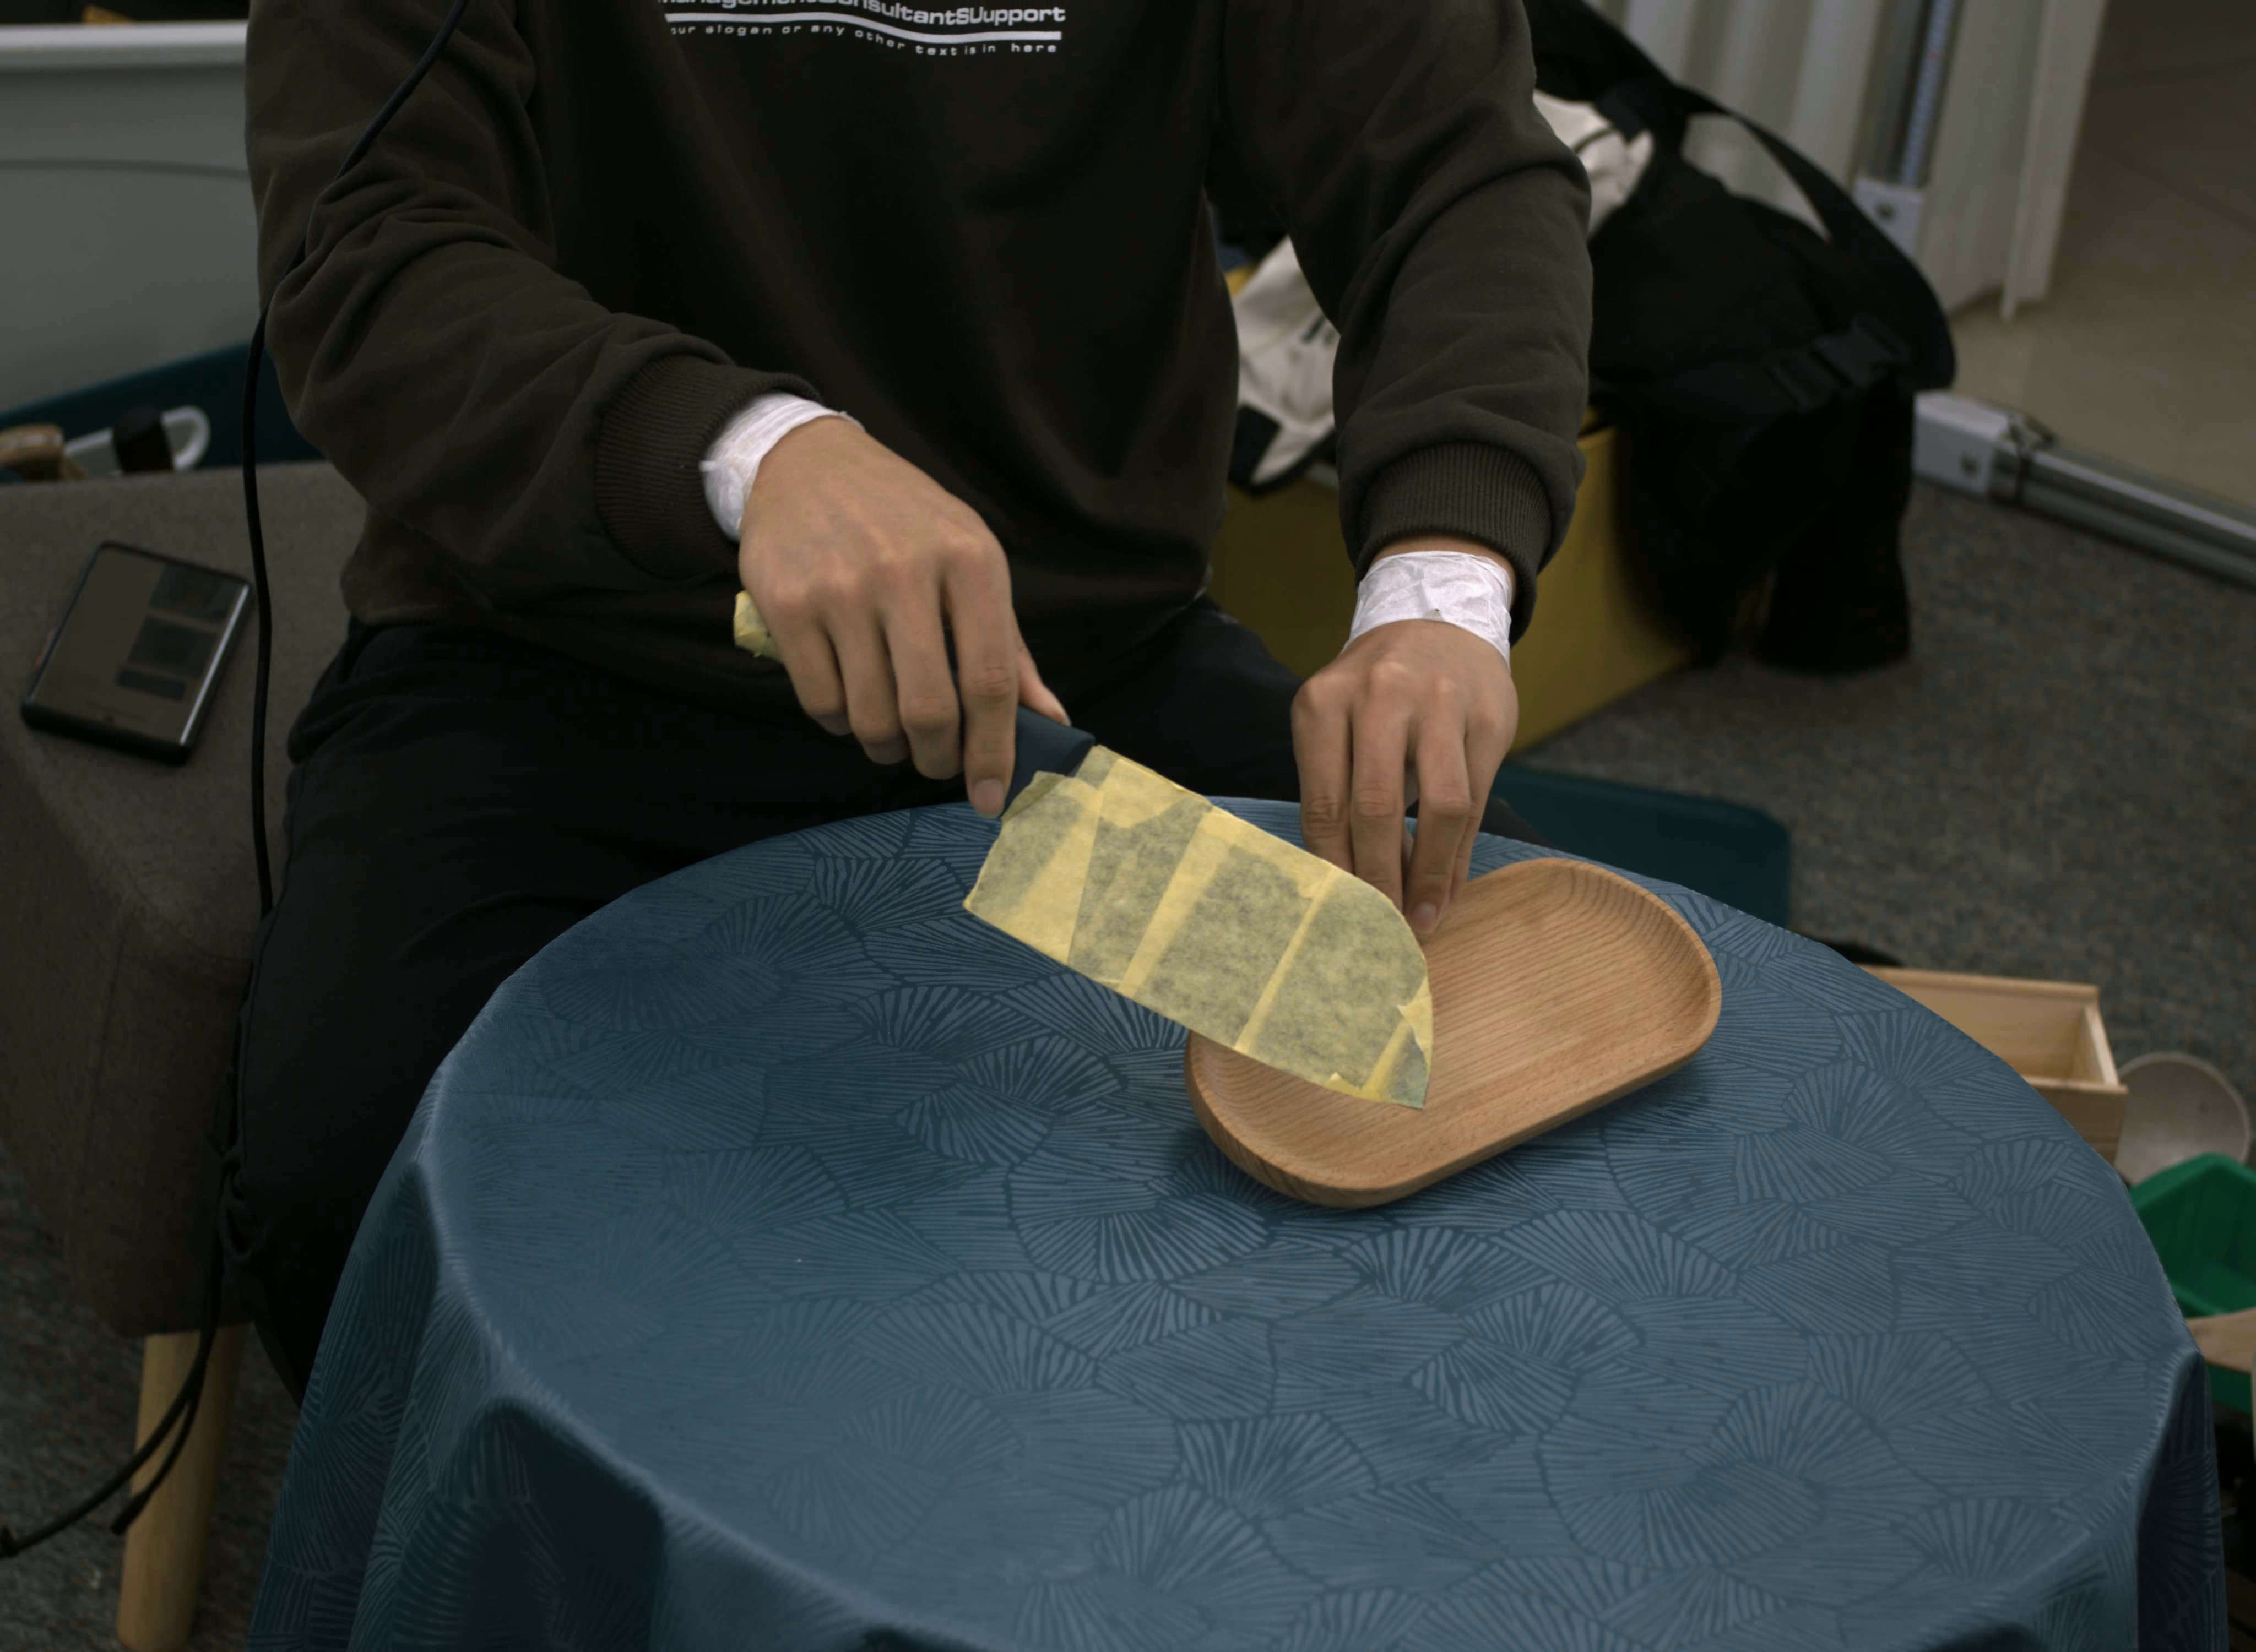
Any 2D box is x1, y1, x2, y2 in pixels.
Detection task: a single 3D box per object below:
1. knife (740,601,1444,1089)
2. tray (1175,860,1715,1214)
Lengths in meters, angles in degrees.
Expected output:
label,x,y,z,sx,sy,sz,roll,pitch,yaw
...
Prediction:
label,x,y,z,sx,sy,sz,roll,pitch,yaw
knife,-0.017,0.006,1.828,0.290,0.081,0.027,30,-7,11
tray,0.113,0.073,1.872,0.230,0.020,0.102,-22,57,-36
